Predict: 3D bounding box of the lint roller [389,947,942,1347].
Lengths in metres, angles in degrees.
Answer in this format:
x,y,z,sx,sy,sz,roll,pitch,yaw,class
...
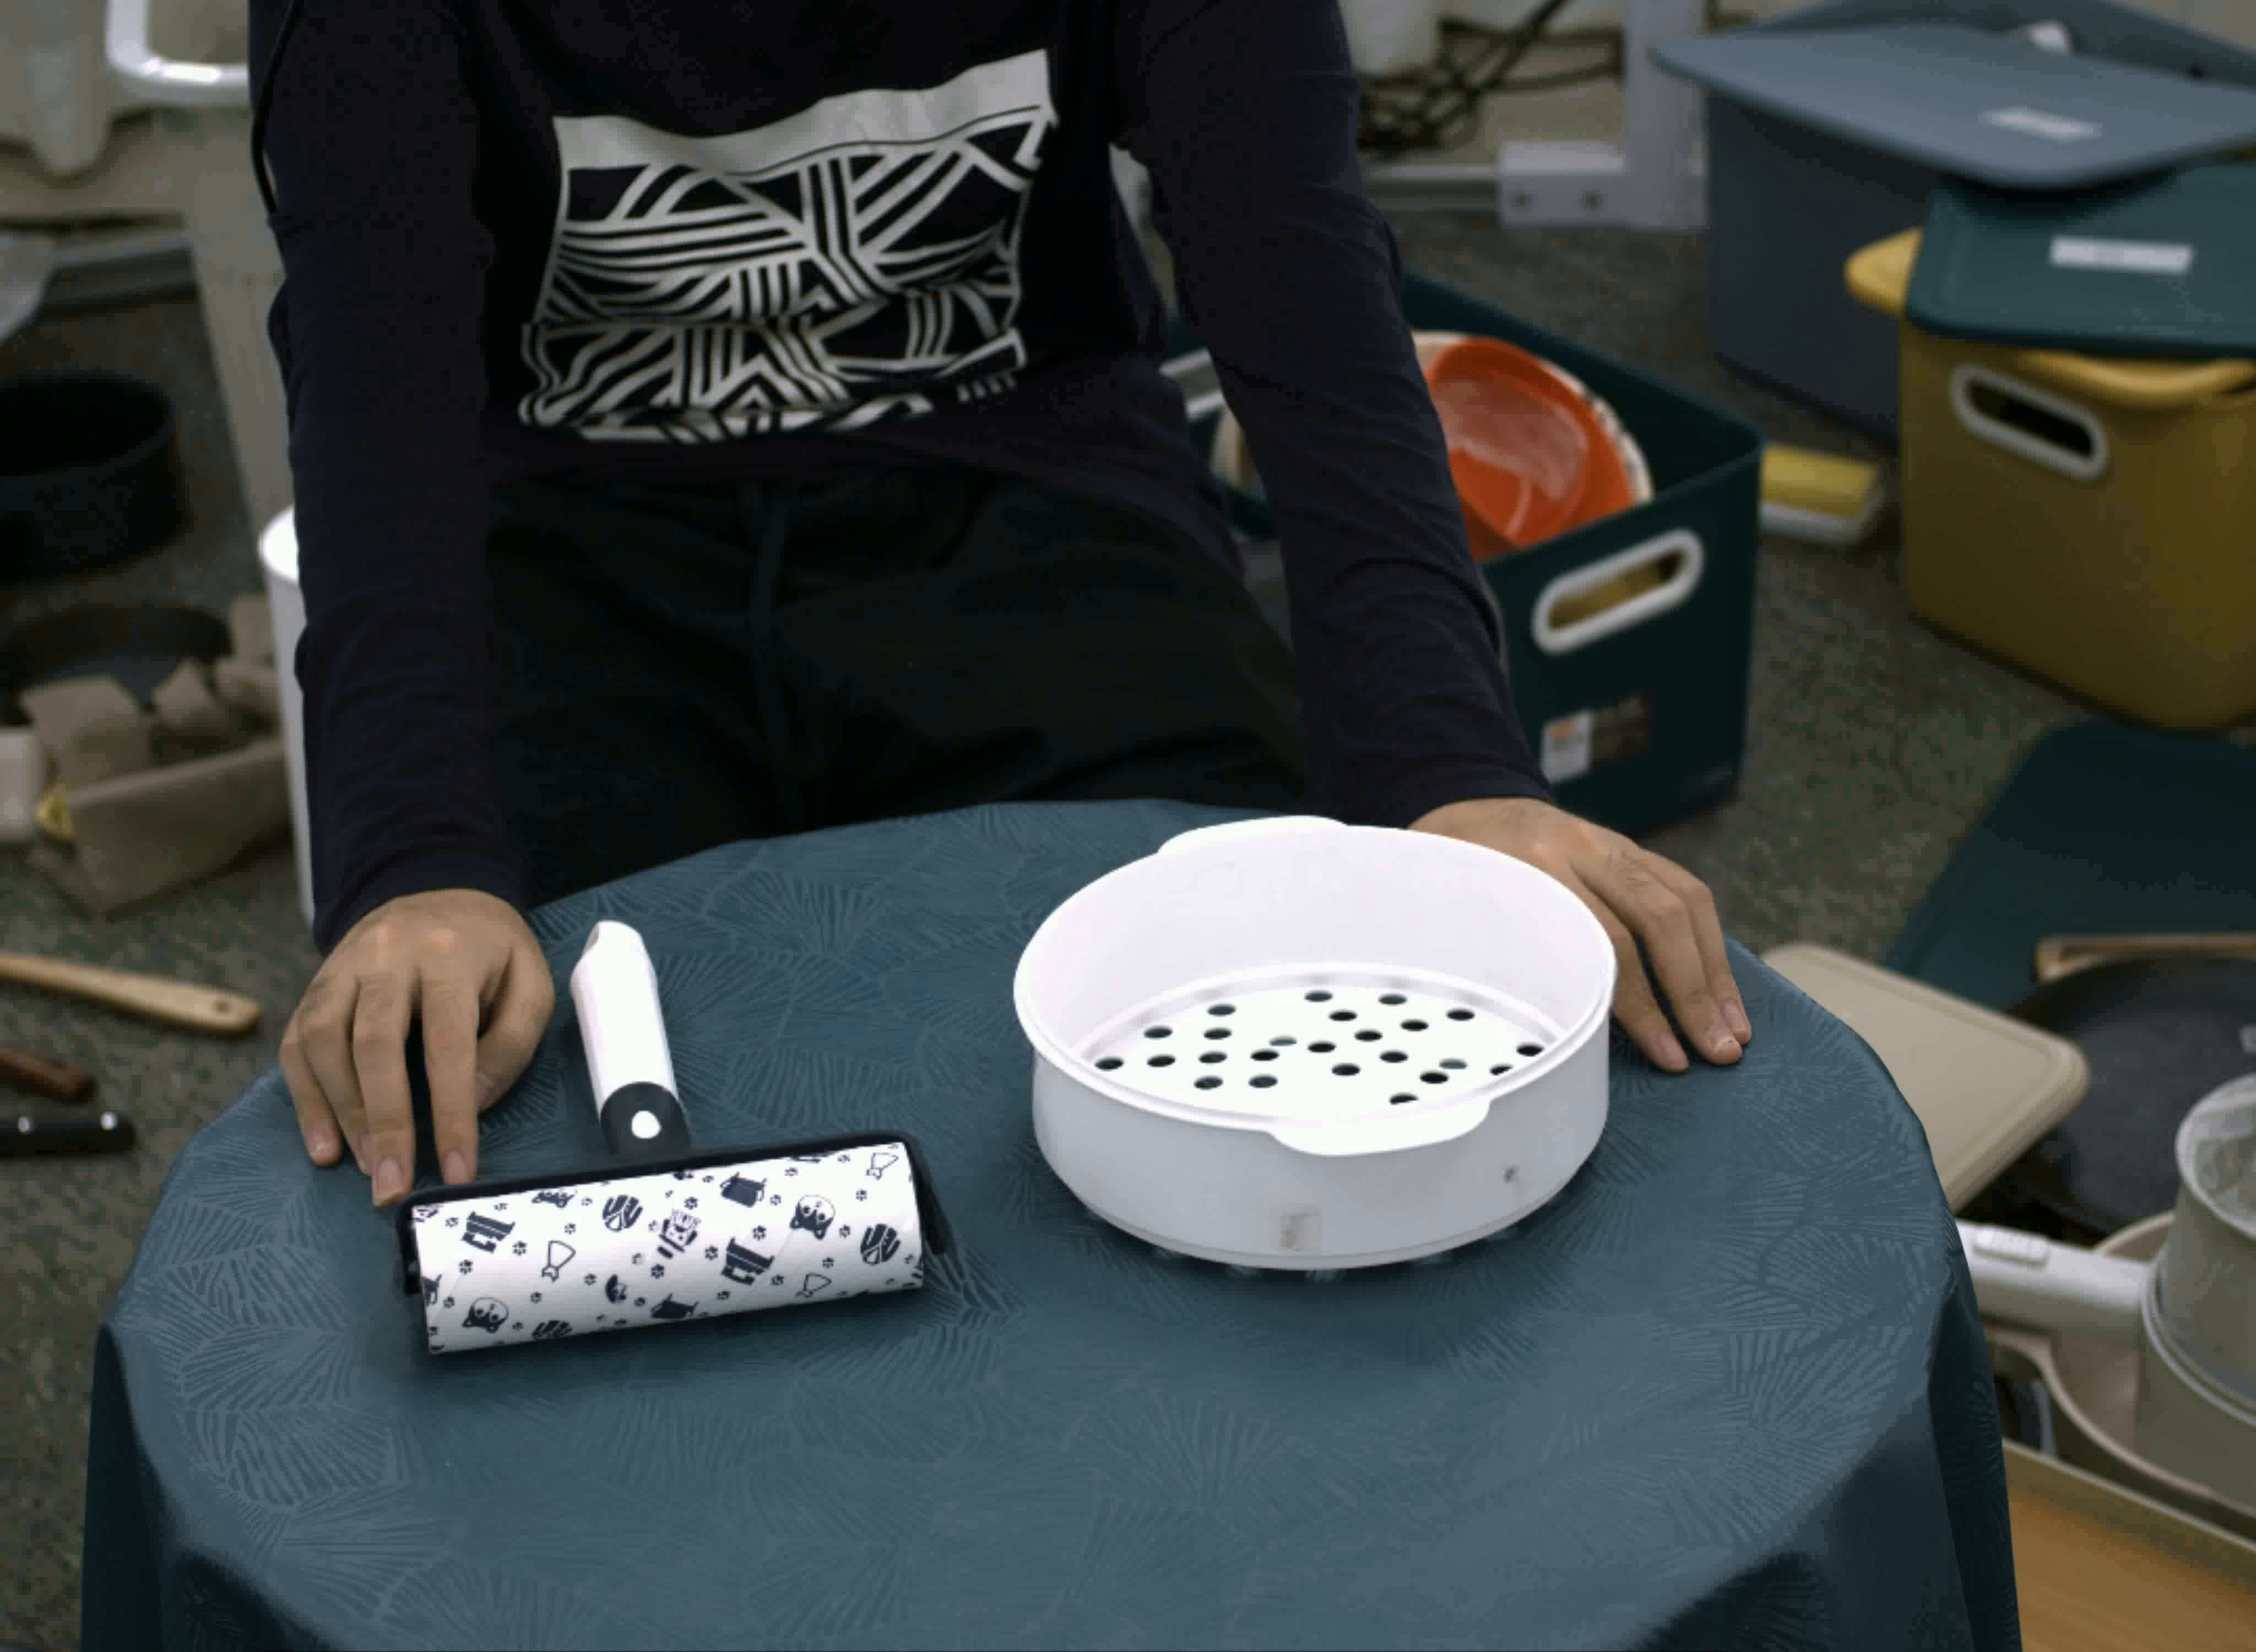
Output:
x,y,z,sx,sy,sz,roll,pitch,yaw,class
-0.168,0.093,1.889,0.176,0.050,0.249,-8,25,-9,lint roller

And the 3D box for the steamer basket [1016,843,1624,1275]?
x,y,z,sx,sy,sz,roll,pitch,yaw,class
0.064,0.078,1.871,0.201,0.068,0.233,-6,24,-9,steamer basket
